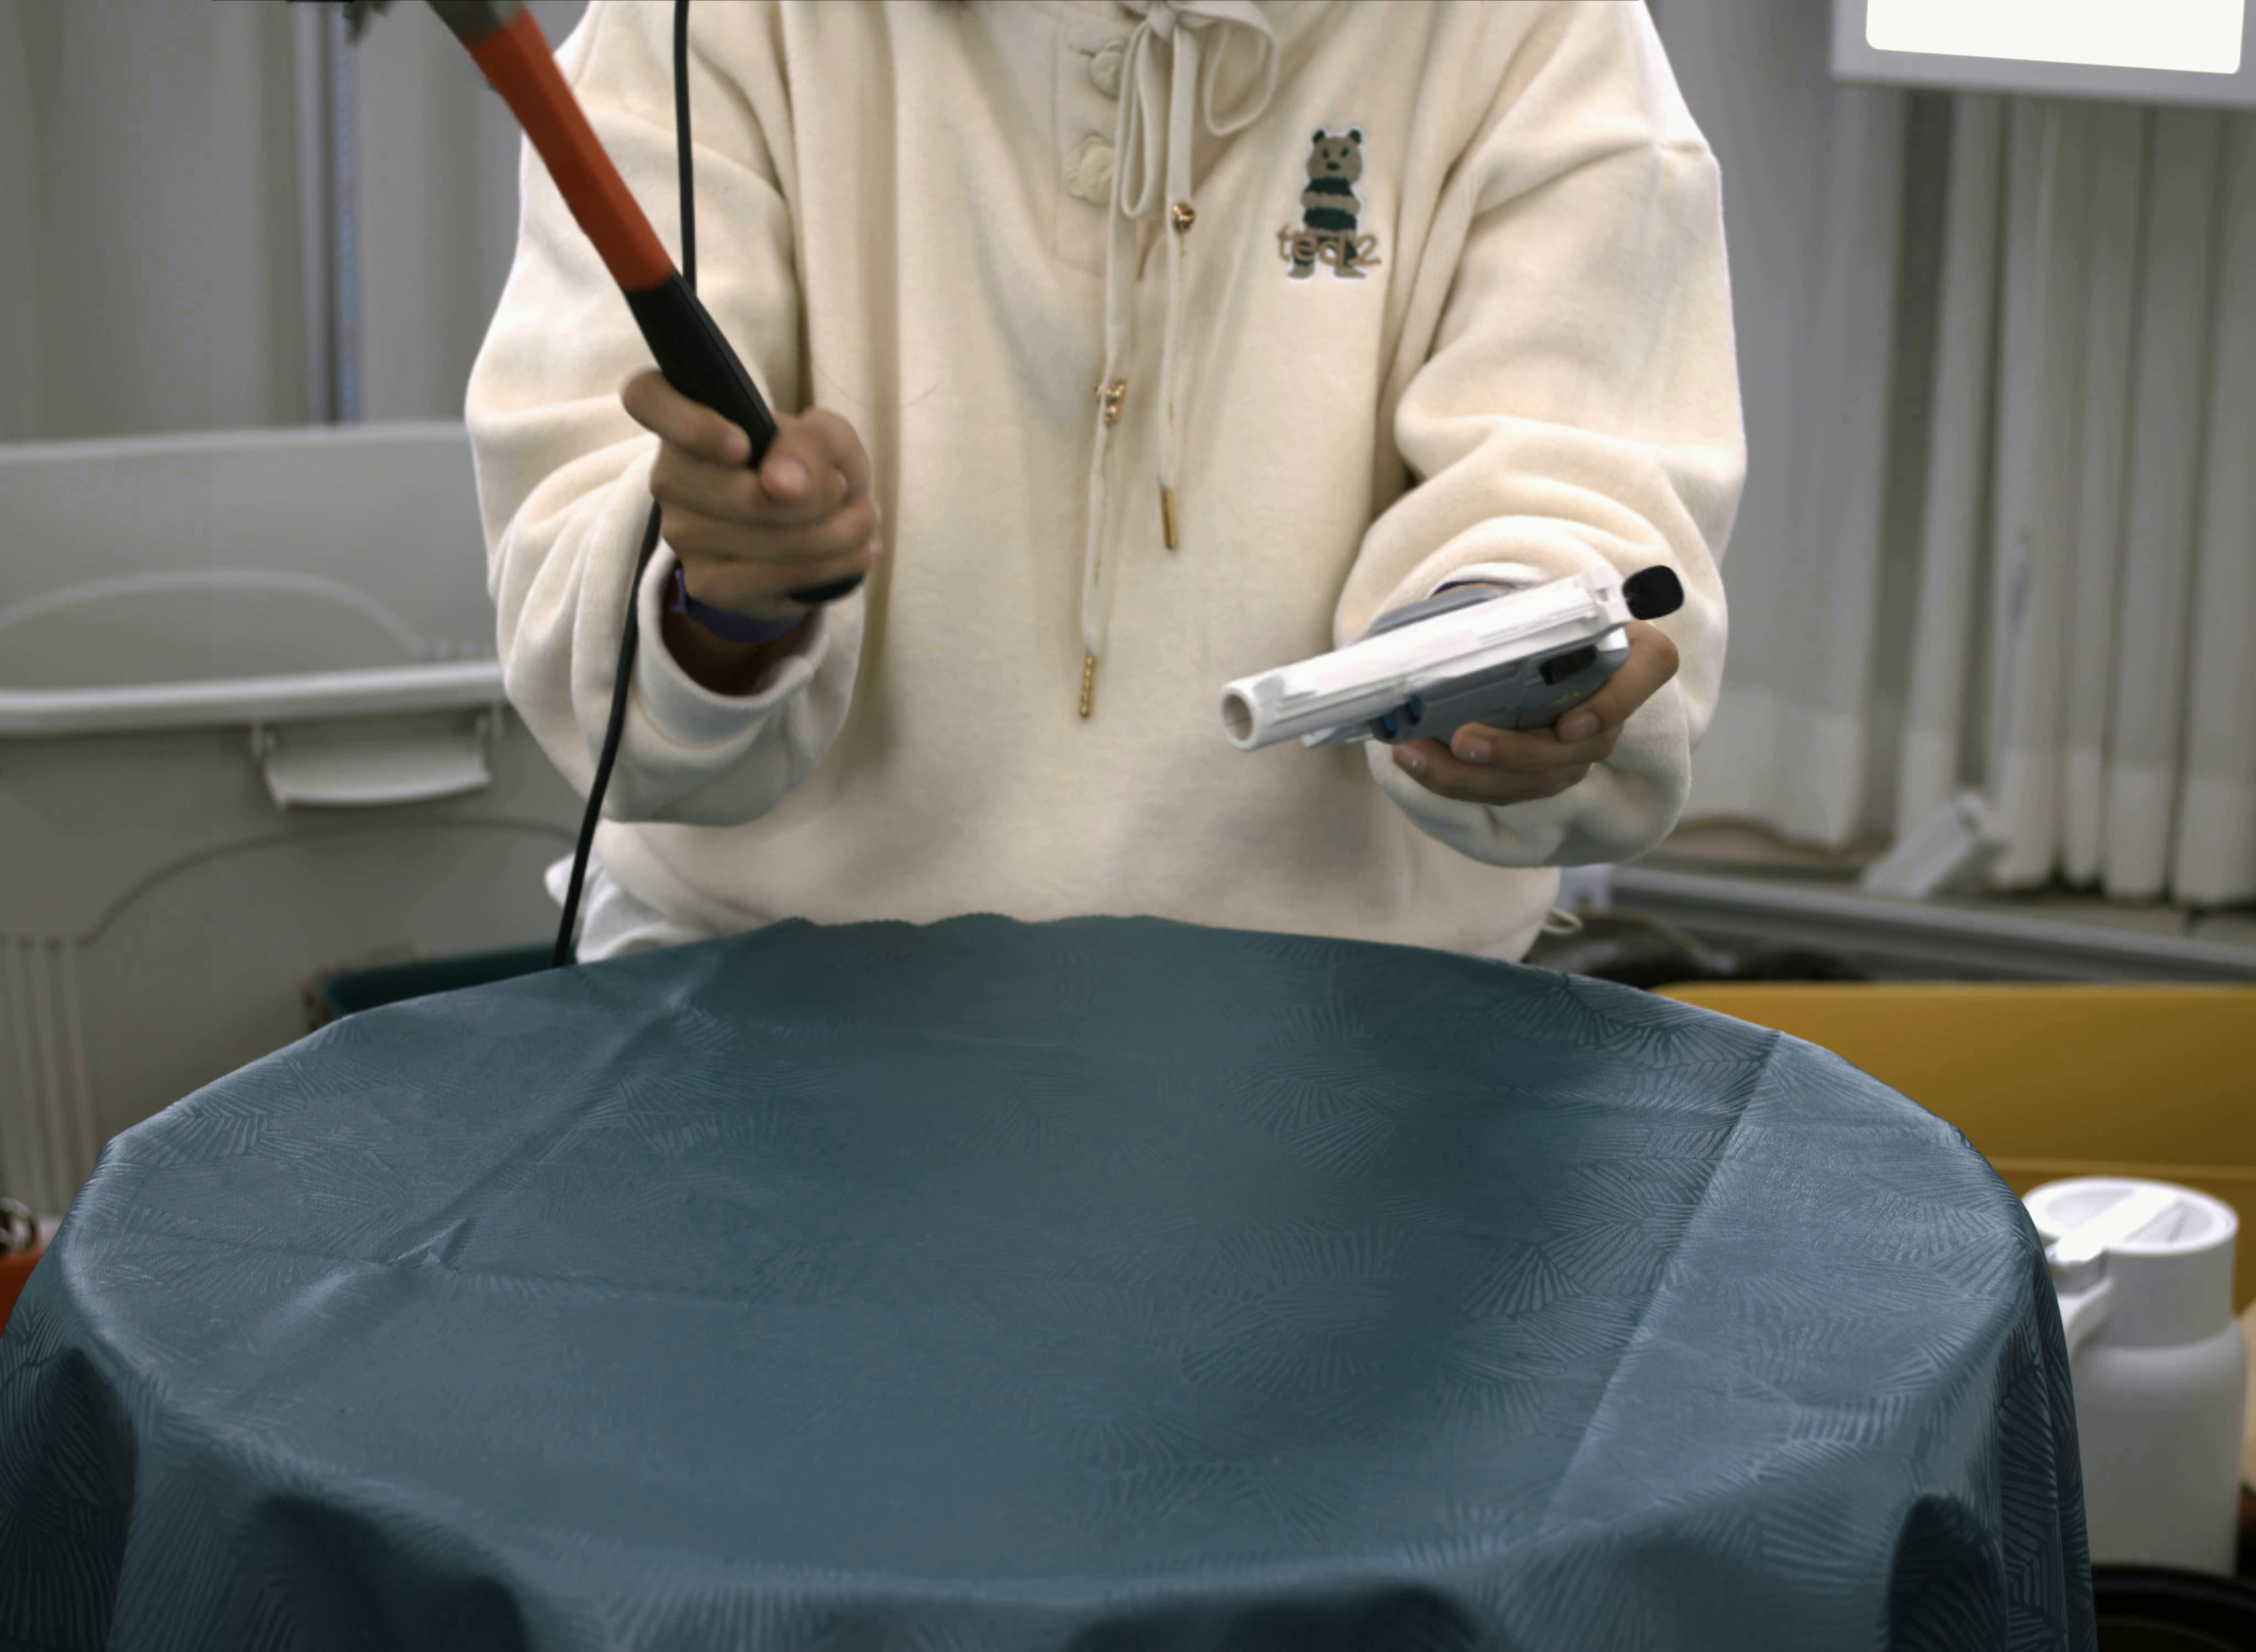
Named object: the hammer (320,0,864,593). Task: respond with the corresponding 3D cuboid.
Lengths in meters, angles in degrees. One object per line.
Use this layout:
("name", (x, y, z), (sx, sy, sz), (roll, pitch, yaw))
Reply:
("hammer", (-0.156, -0.182, 1.622), (0.109, 0.281, 0.026), (-4, 42, 33))

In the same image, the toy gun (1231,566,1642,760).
("toy gun", (0.085, -0.042, 1.560), (0.210, 0.039, 0.141), (-16, -7, -39))
